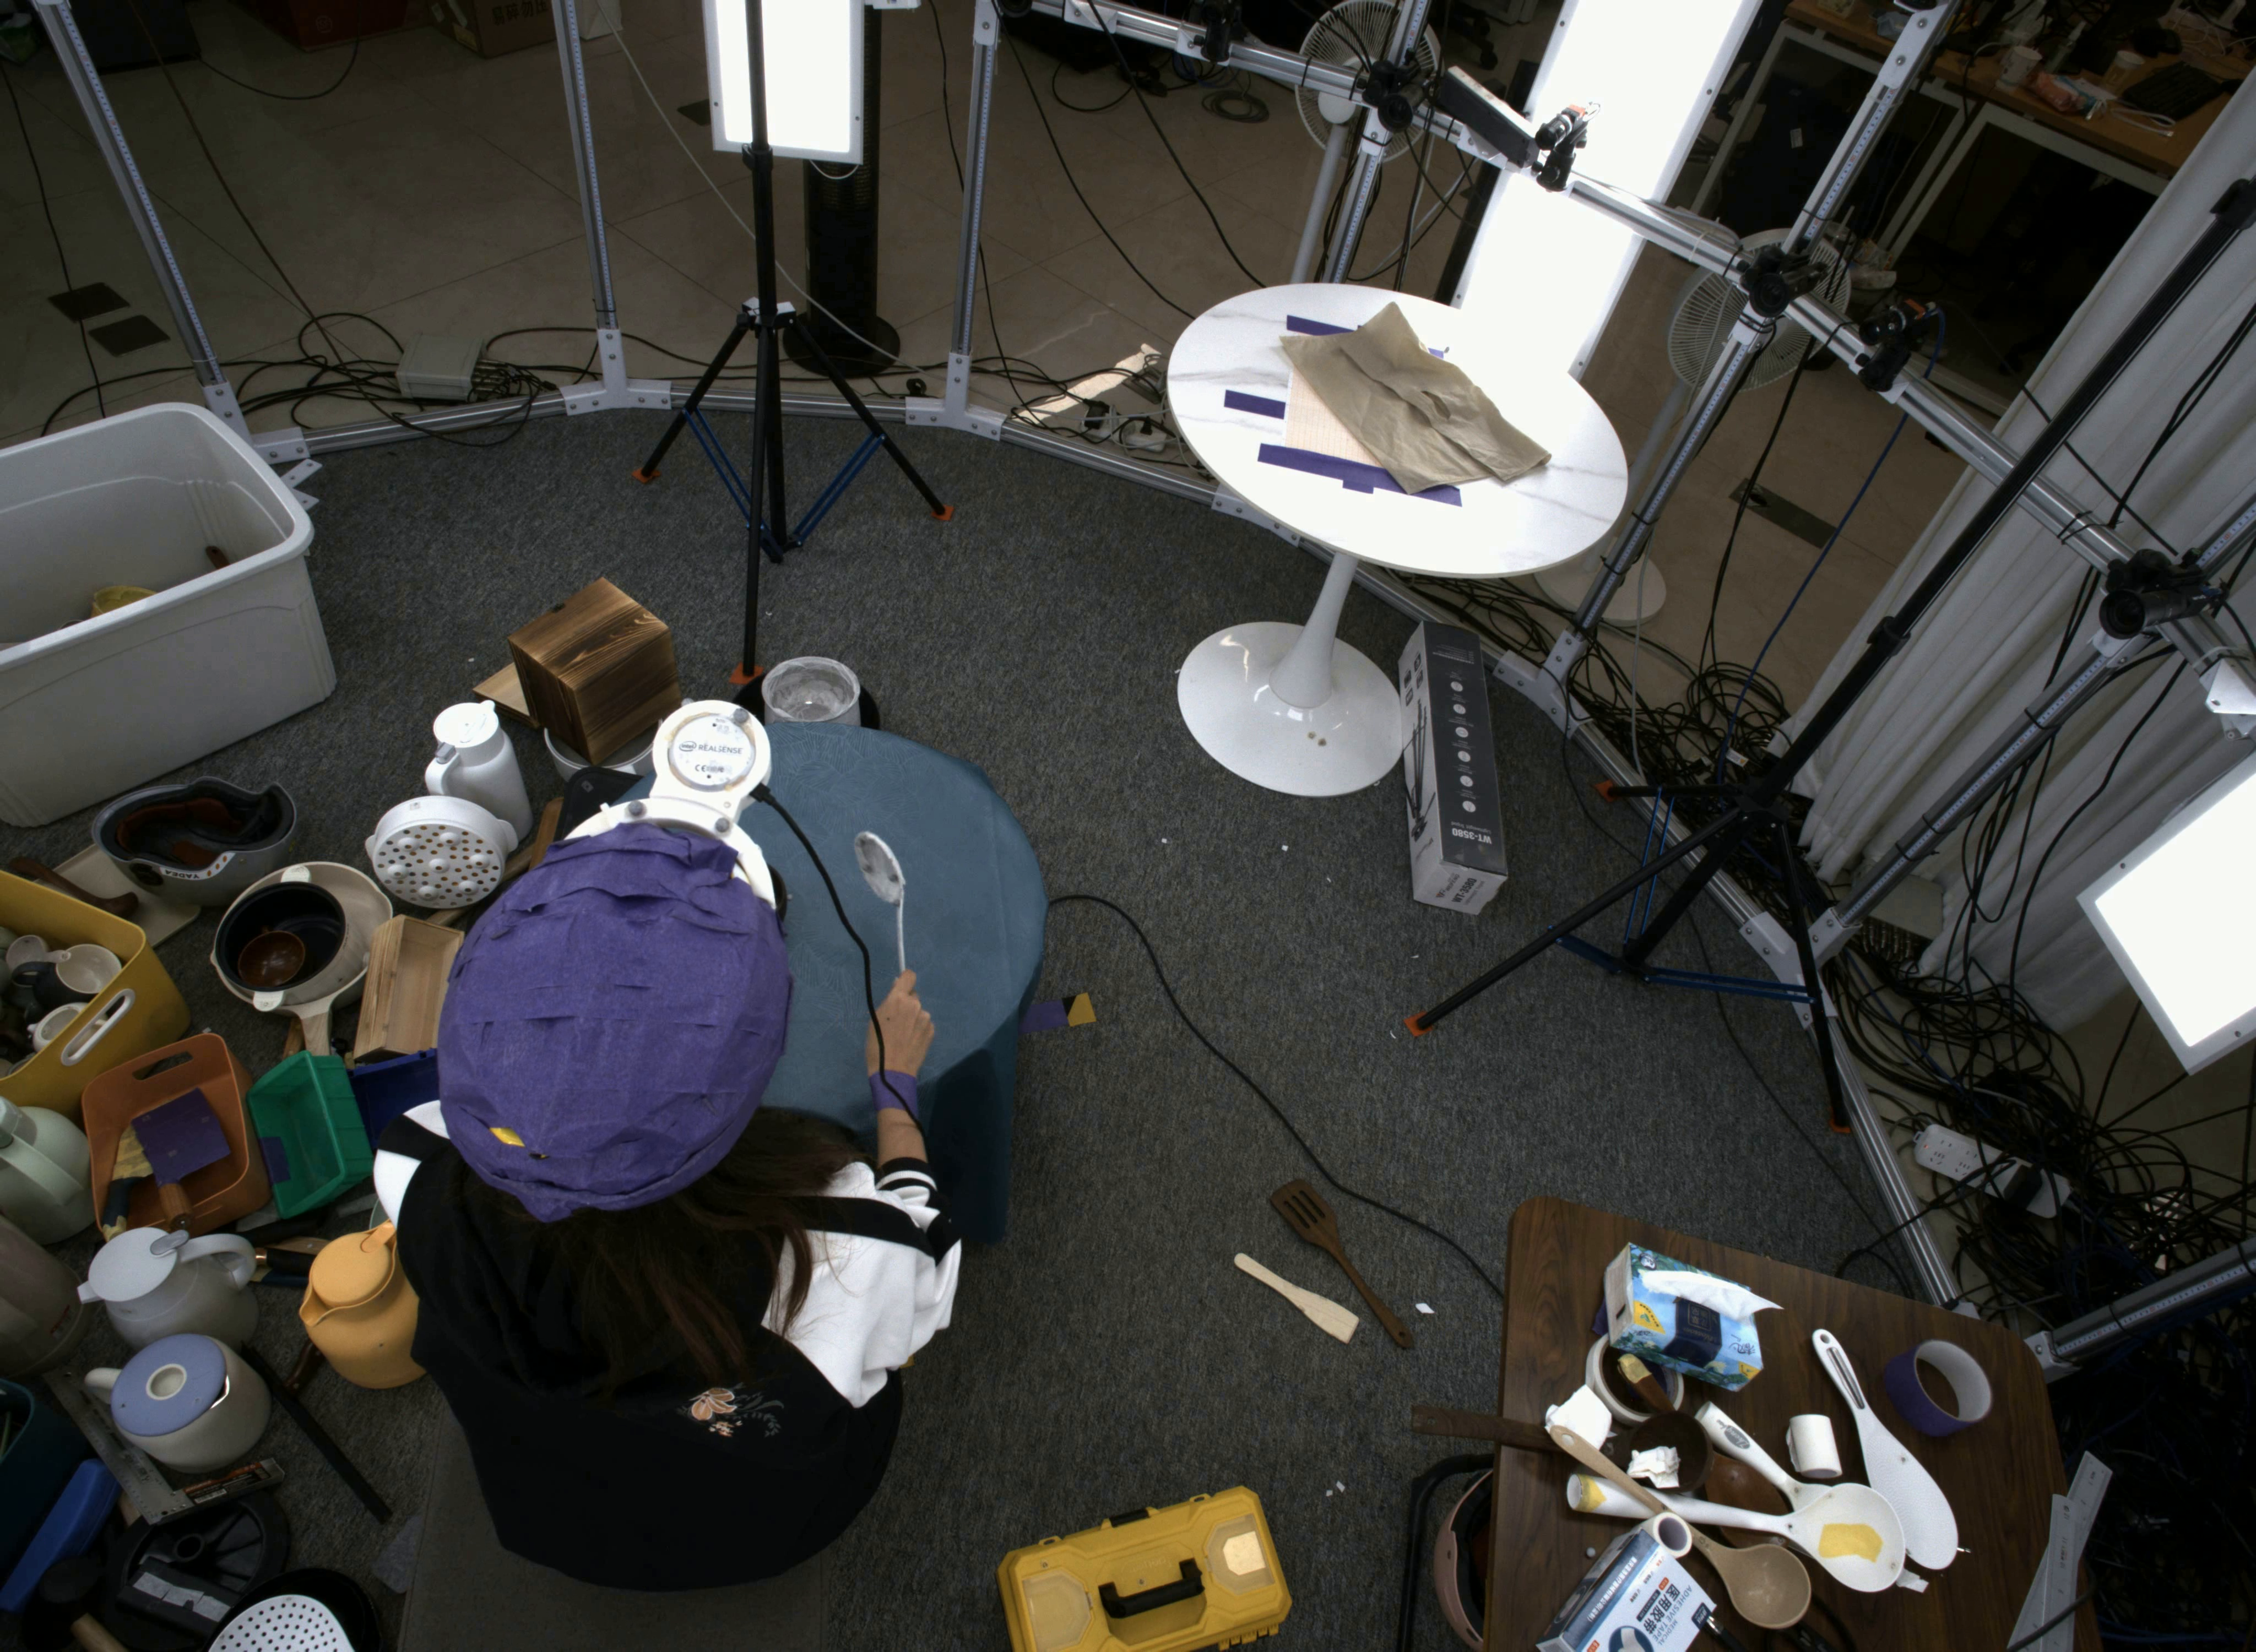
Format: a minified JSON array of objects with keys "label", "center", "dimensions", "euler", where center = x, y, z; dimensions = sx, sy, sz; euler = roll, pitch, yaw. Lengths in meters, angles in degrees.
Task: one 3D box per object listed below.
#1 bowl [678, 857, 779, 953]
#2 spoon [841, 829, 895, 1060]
[{"label":"bowl","center":[-0.486,0.102,1.579],"dimensions":[0.118,0.071,0.116],"euler":[7,52,-8]},{"label":"spoon","center":[-0.305,0.136,1.515],"dimensions":[0.060,0.101,0.274],"euler":[5,64,-22]}]
